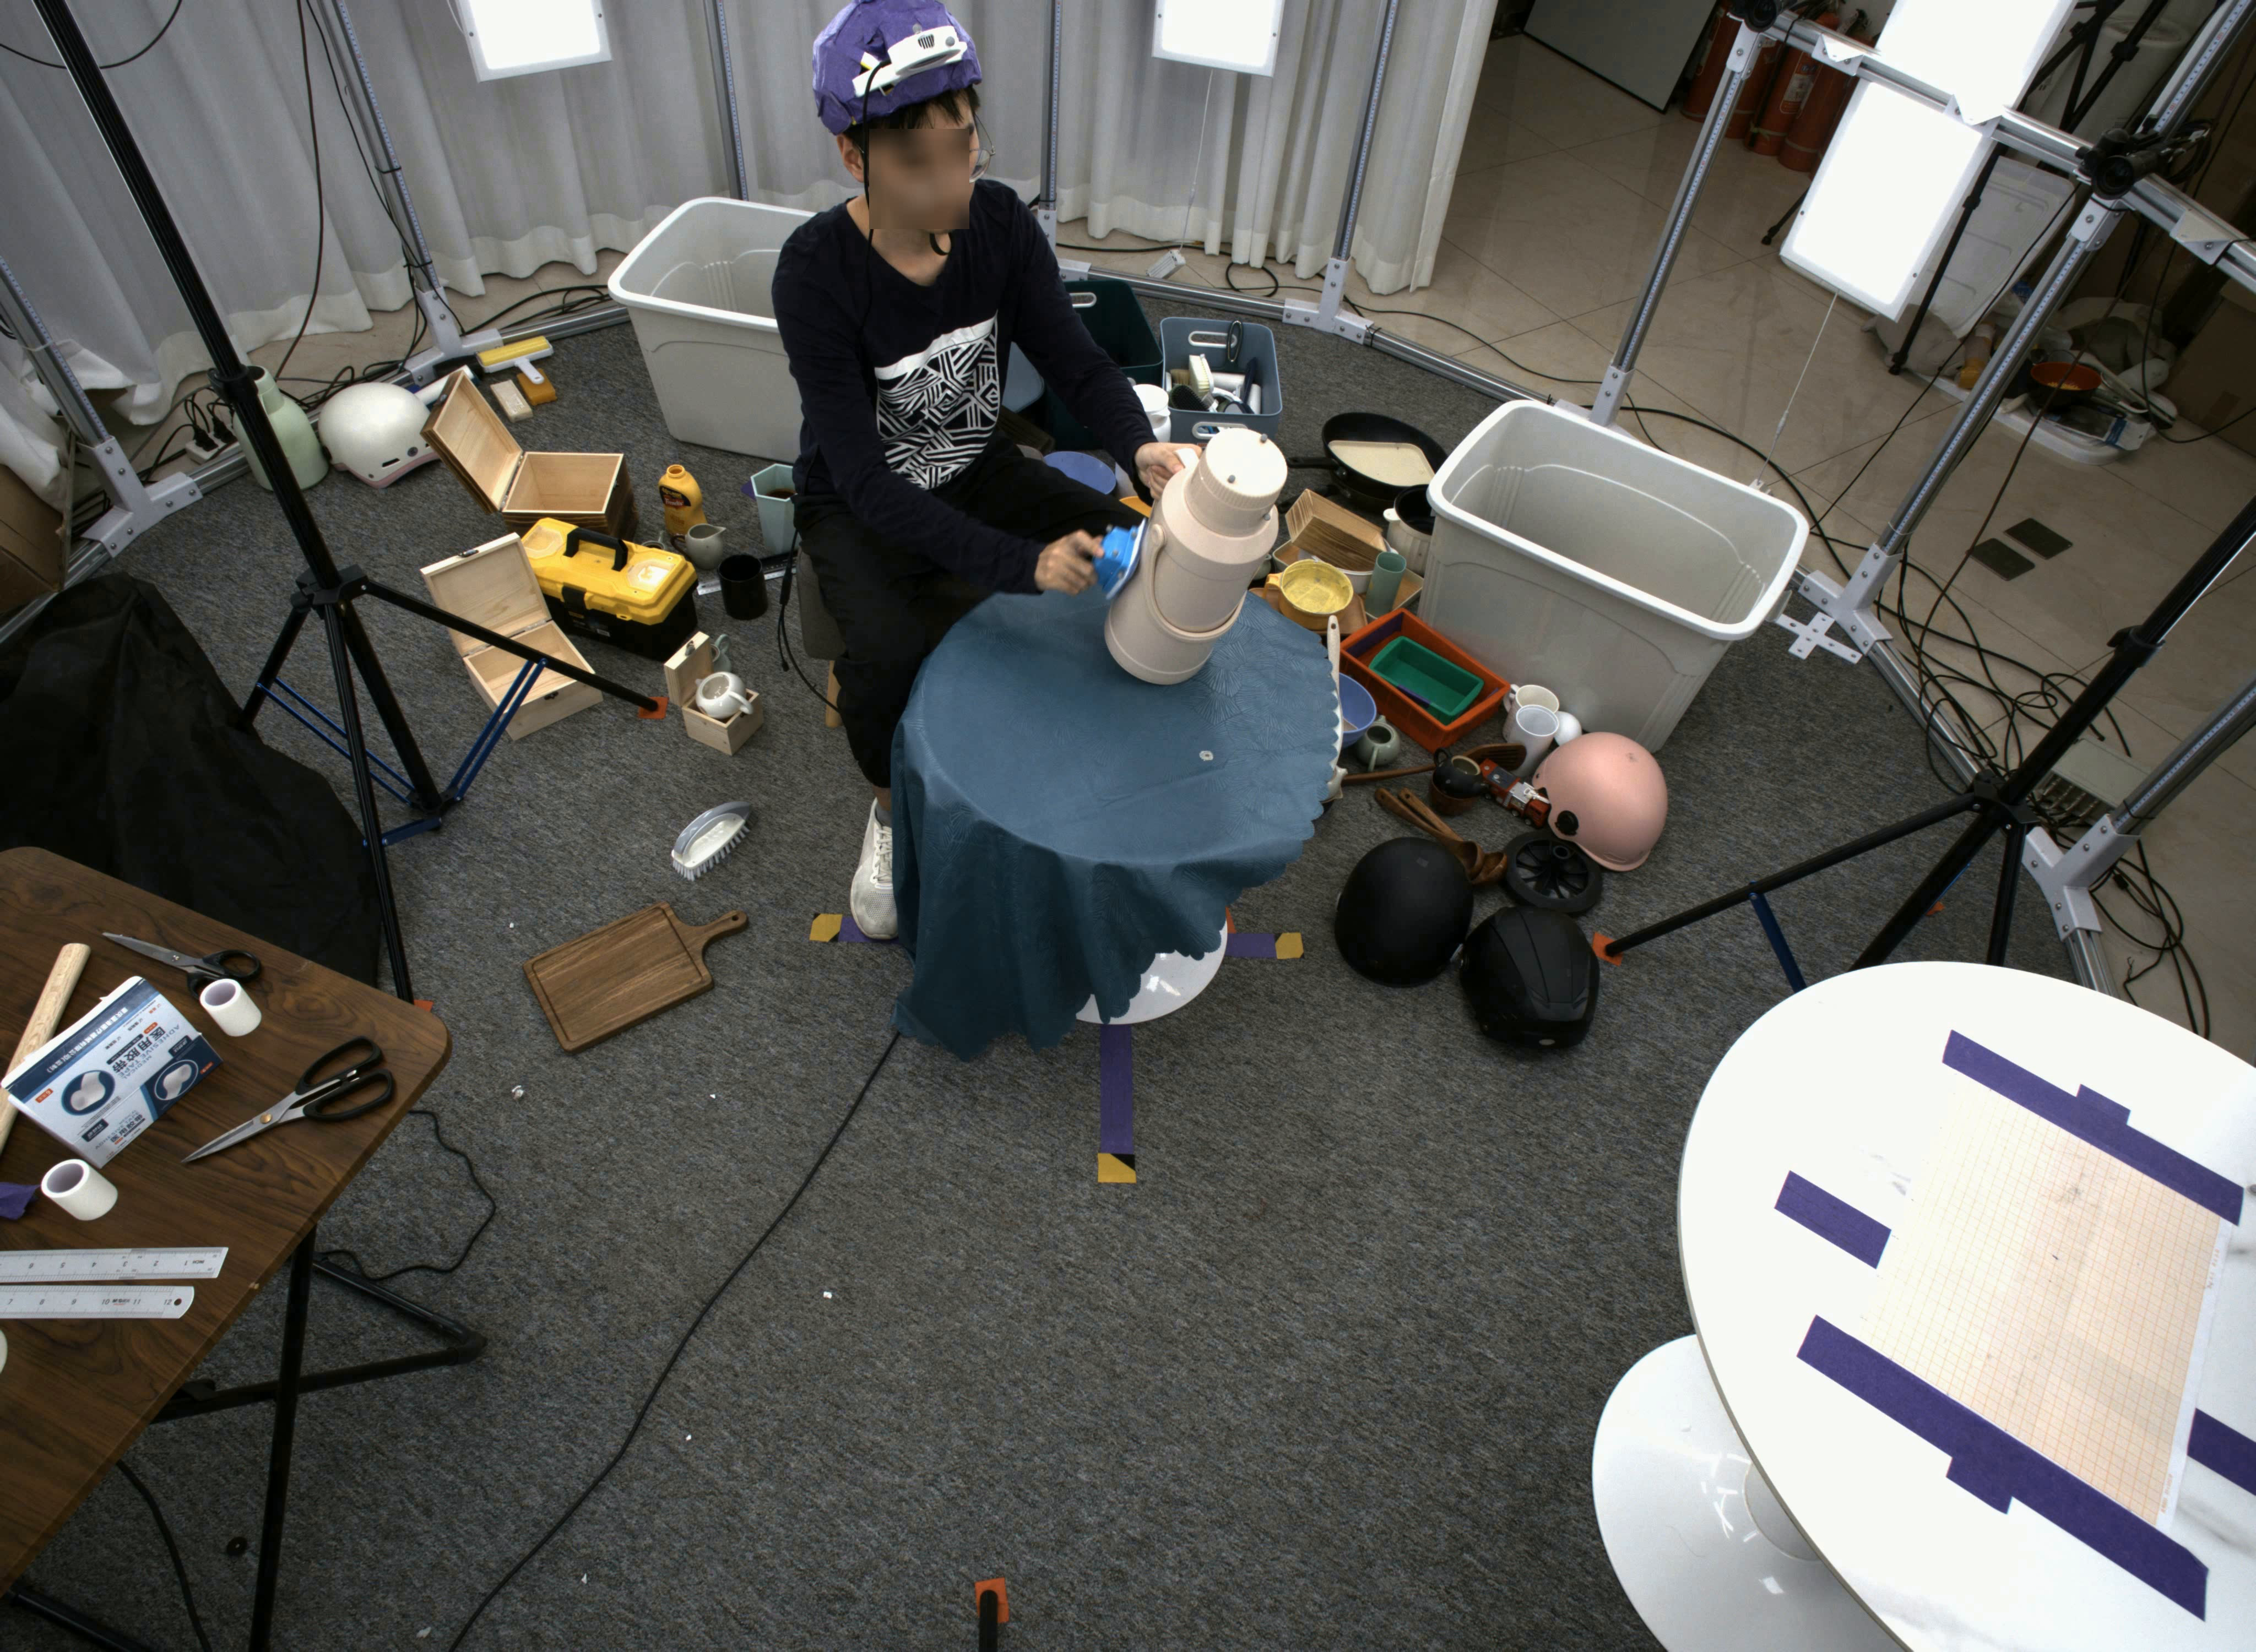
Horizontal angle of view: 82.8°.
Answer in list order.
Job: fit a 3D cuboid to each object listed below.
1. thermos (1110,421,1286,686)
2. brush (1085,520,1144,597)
[{"bbox_3d":[0.090,-0.369,1.716,0.175,0.399,0.210,-17,69,-21],"label":"thermos"},{"bbox_3d":[-0.023,-0.370,1.754,0.055,0.143,0.084,21,79,-11],"label":"brush"}]
